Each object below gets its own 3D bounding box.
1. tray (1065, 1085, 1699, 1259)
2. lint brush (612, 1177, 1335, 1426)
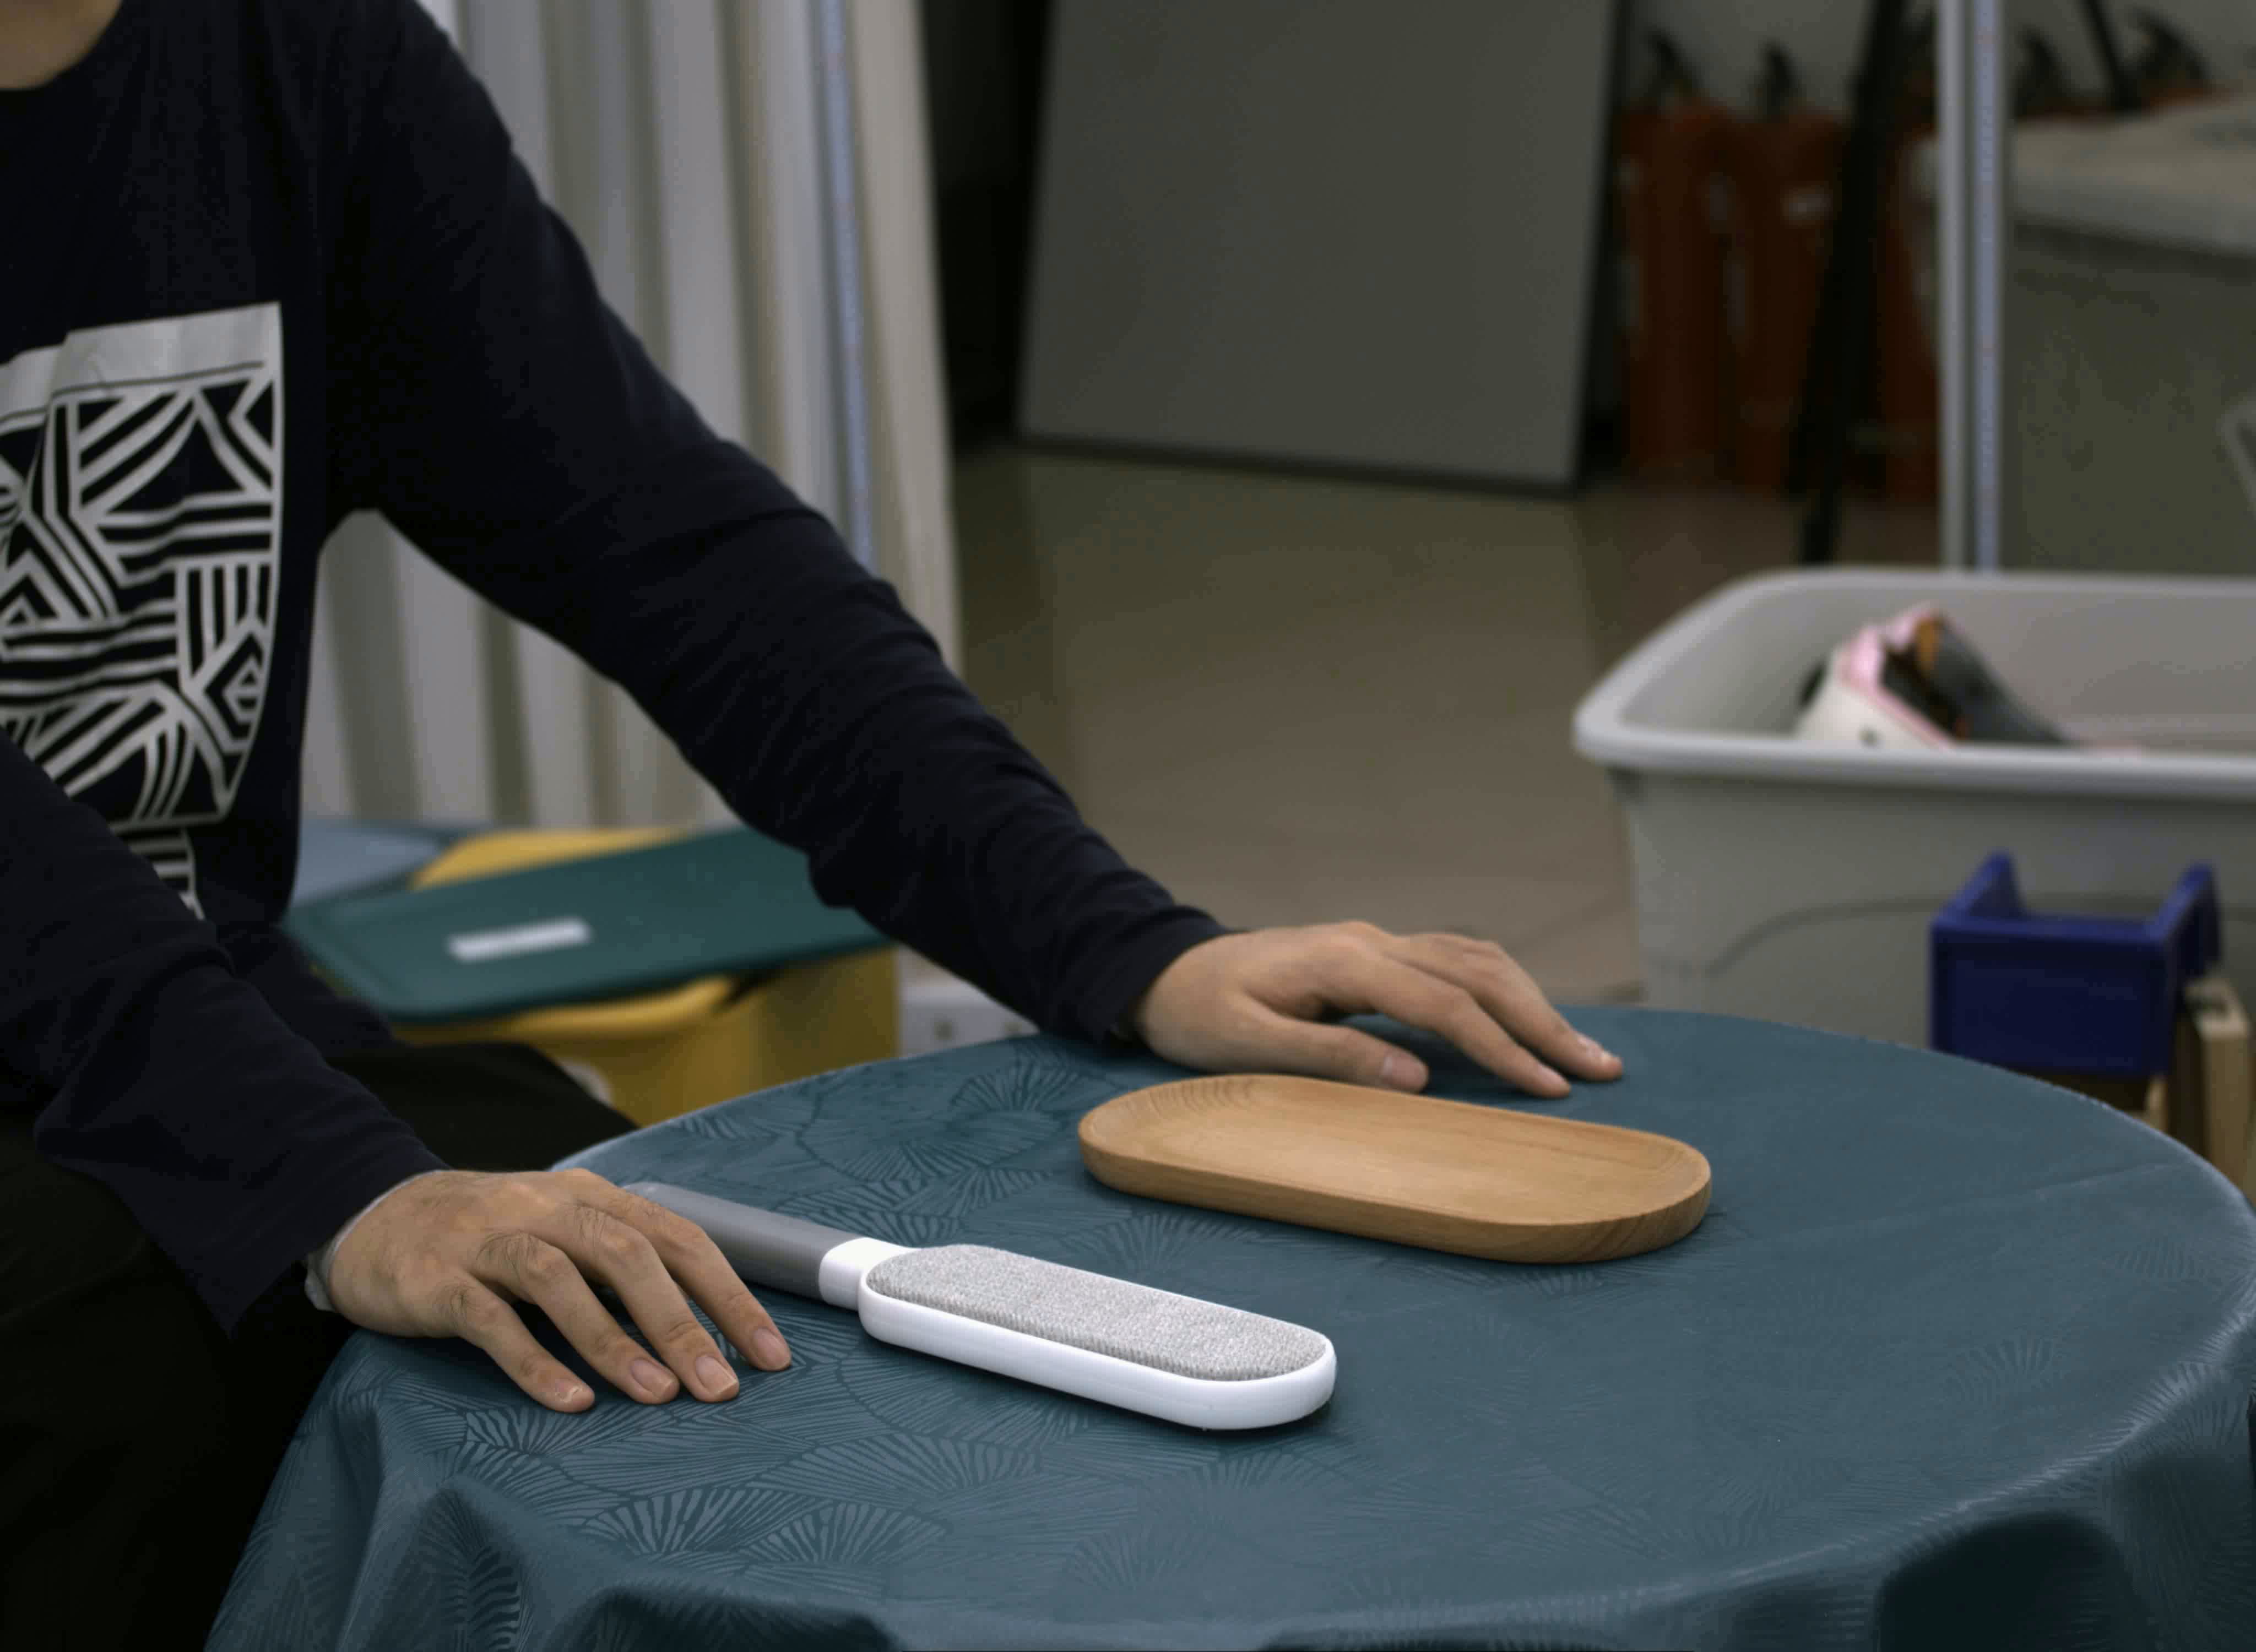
[{"bbox_3d":[0.081,0.112,1.757,0.233,0.020,0.100,5,14,38],"label":"tray"},{"bbox_3d":[-0.054,0.141,1.651,0.059,0.021,0.312,-23,22,-40],"label":"lint brush"}]
